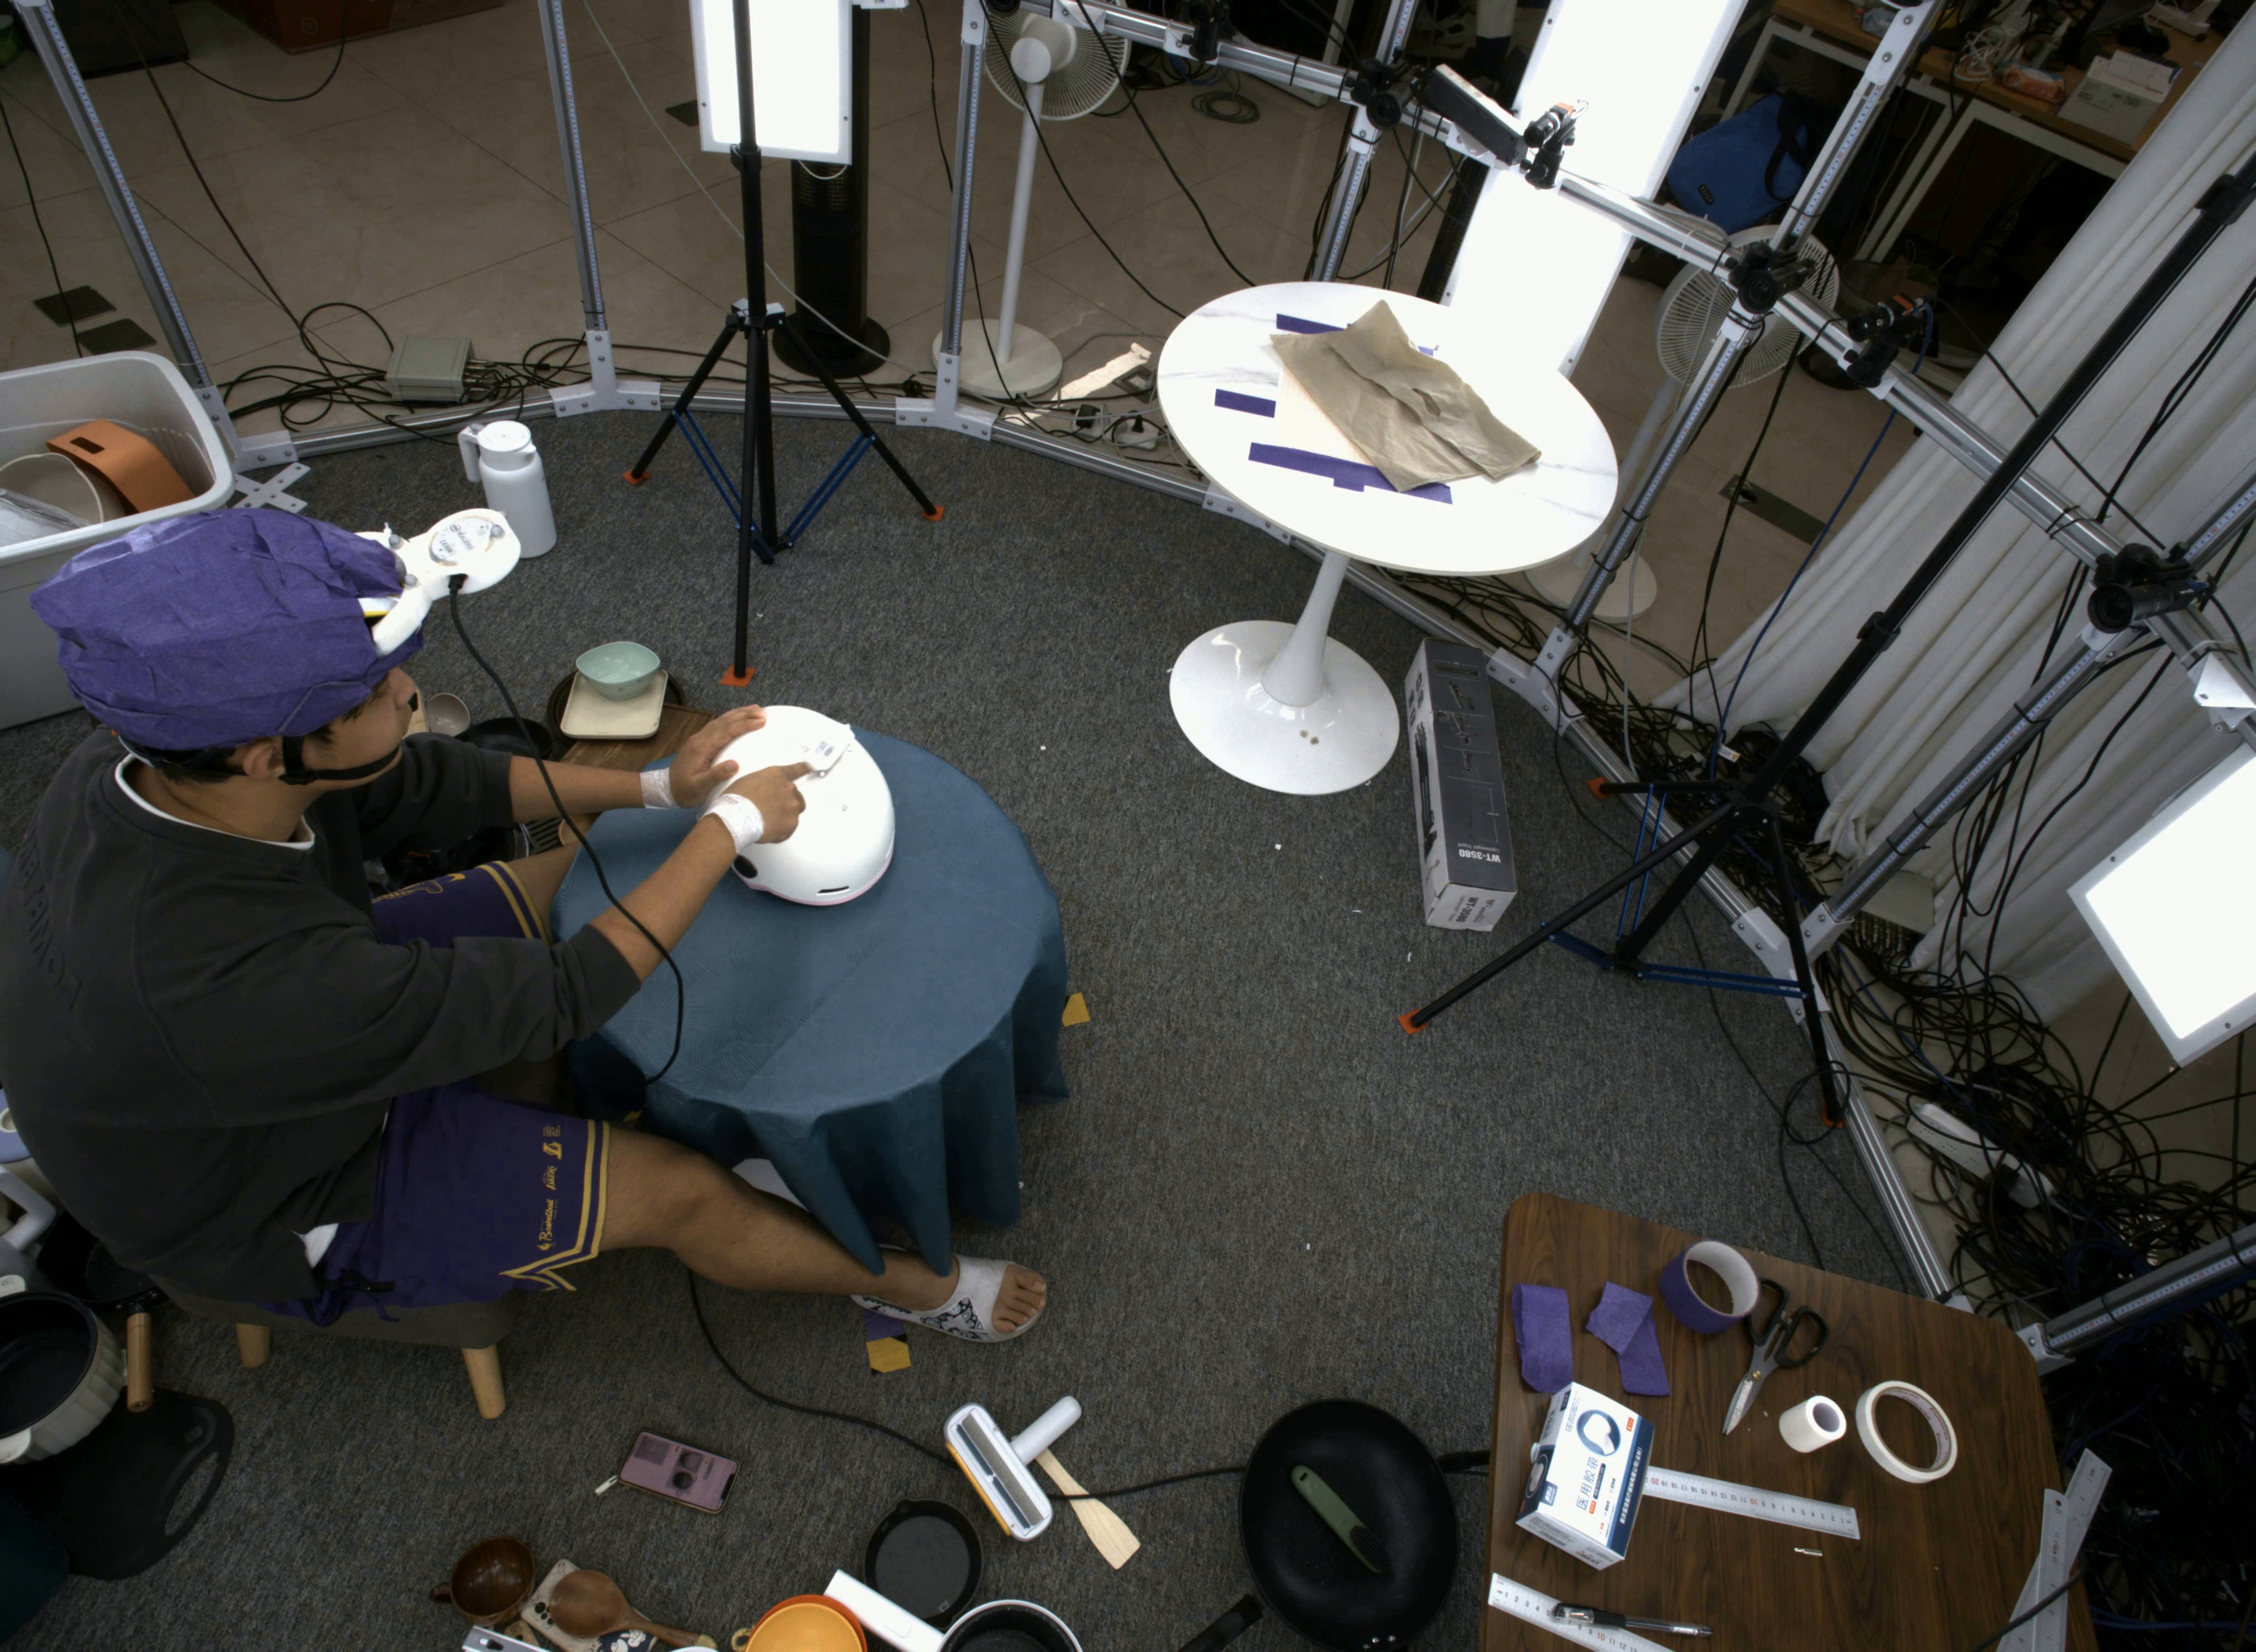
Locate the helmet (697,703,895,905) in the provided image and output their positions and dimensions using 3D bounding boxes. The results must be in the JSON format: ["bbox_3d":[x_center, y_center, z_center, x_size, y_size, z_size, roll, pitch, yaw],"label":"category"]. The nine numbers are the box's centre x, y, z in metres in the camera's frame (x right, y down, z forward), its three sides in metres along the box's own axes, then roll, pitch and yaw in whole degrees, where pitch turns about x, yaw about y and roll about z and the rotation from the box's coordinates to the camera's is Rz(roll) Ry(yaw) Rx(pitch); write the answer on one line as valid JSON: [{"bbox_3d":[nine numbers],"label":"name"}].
[{"bbox_3d":[-0.424,-0.048,1.659,0.263,0.170,0.237,37,53,15],"label":"helmet"}]

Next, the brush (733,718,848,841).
[{"bbox_3d":[-0.399,-0.048,1.523,0.034,0.050,0.241,34,42,-6],"label":"brush"}]
